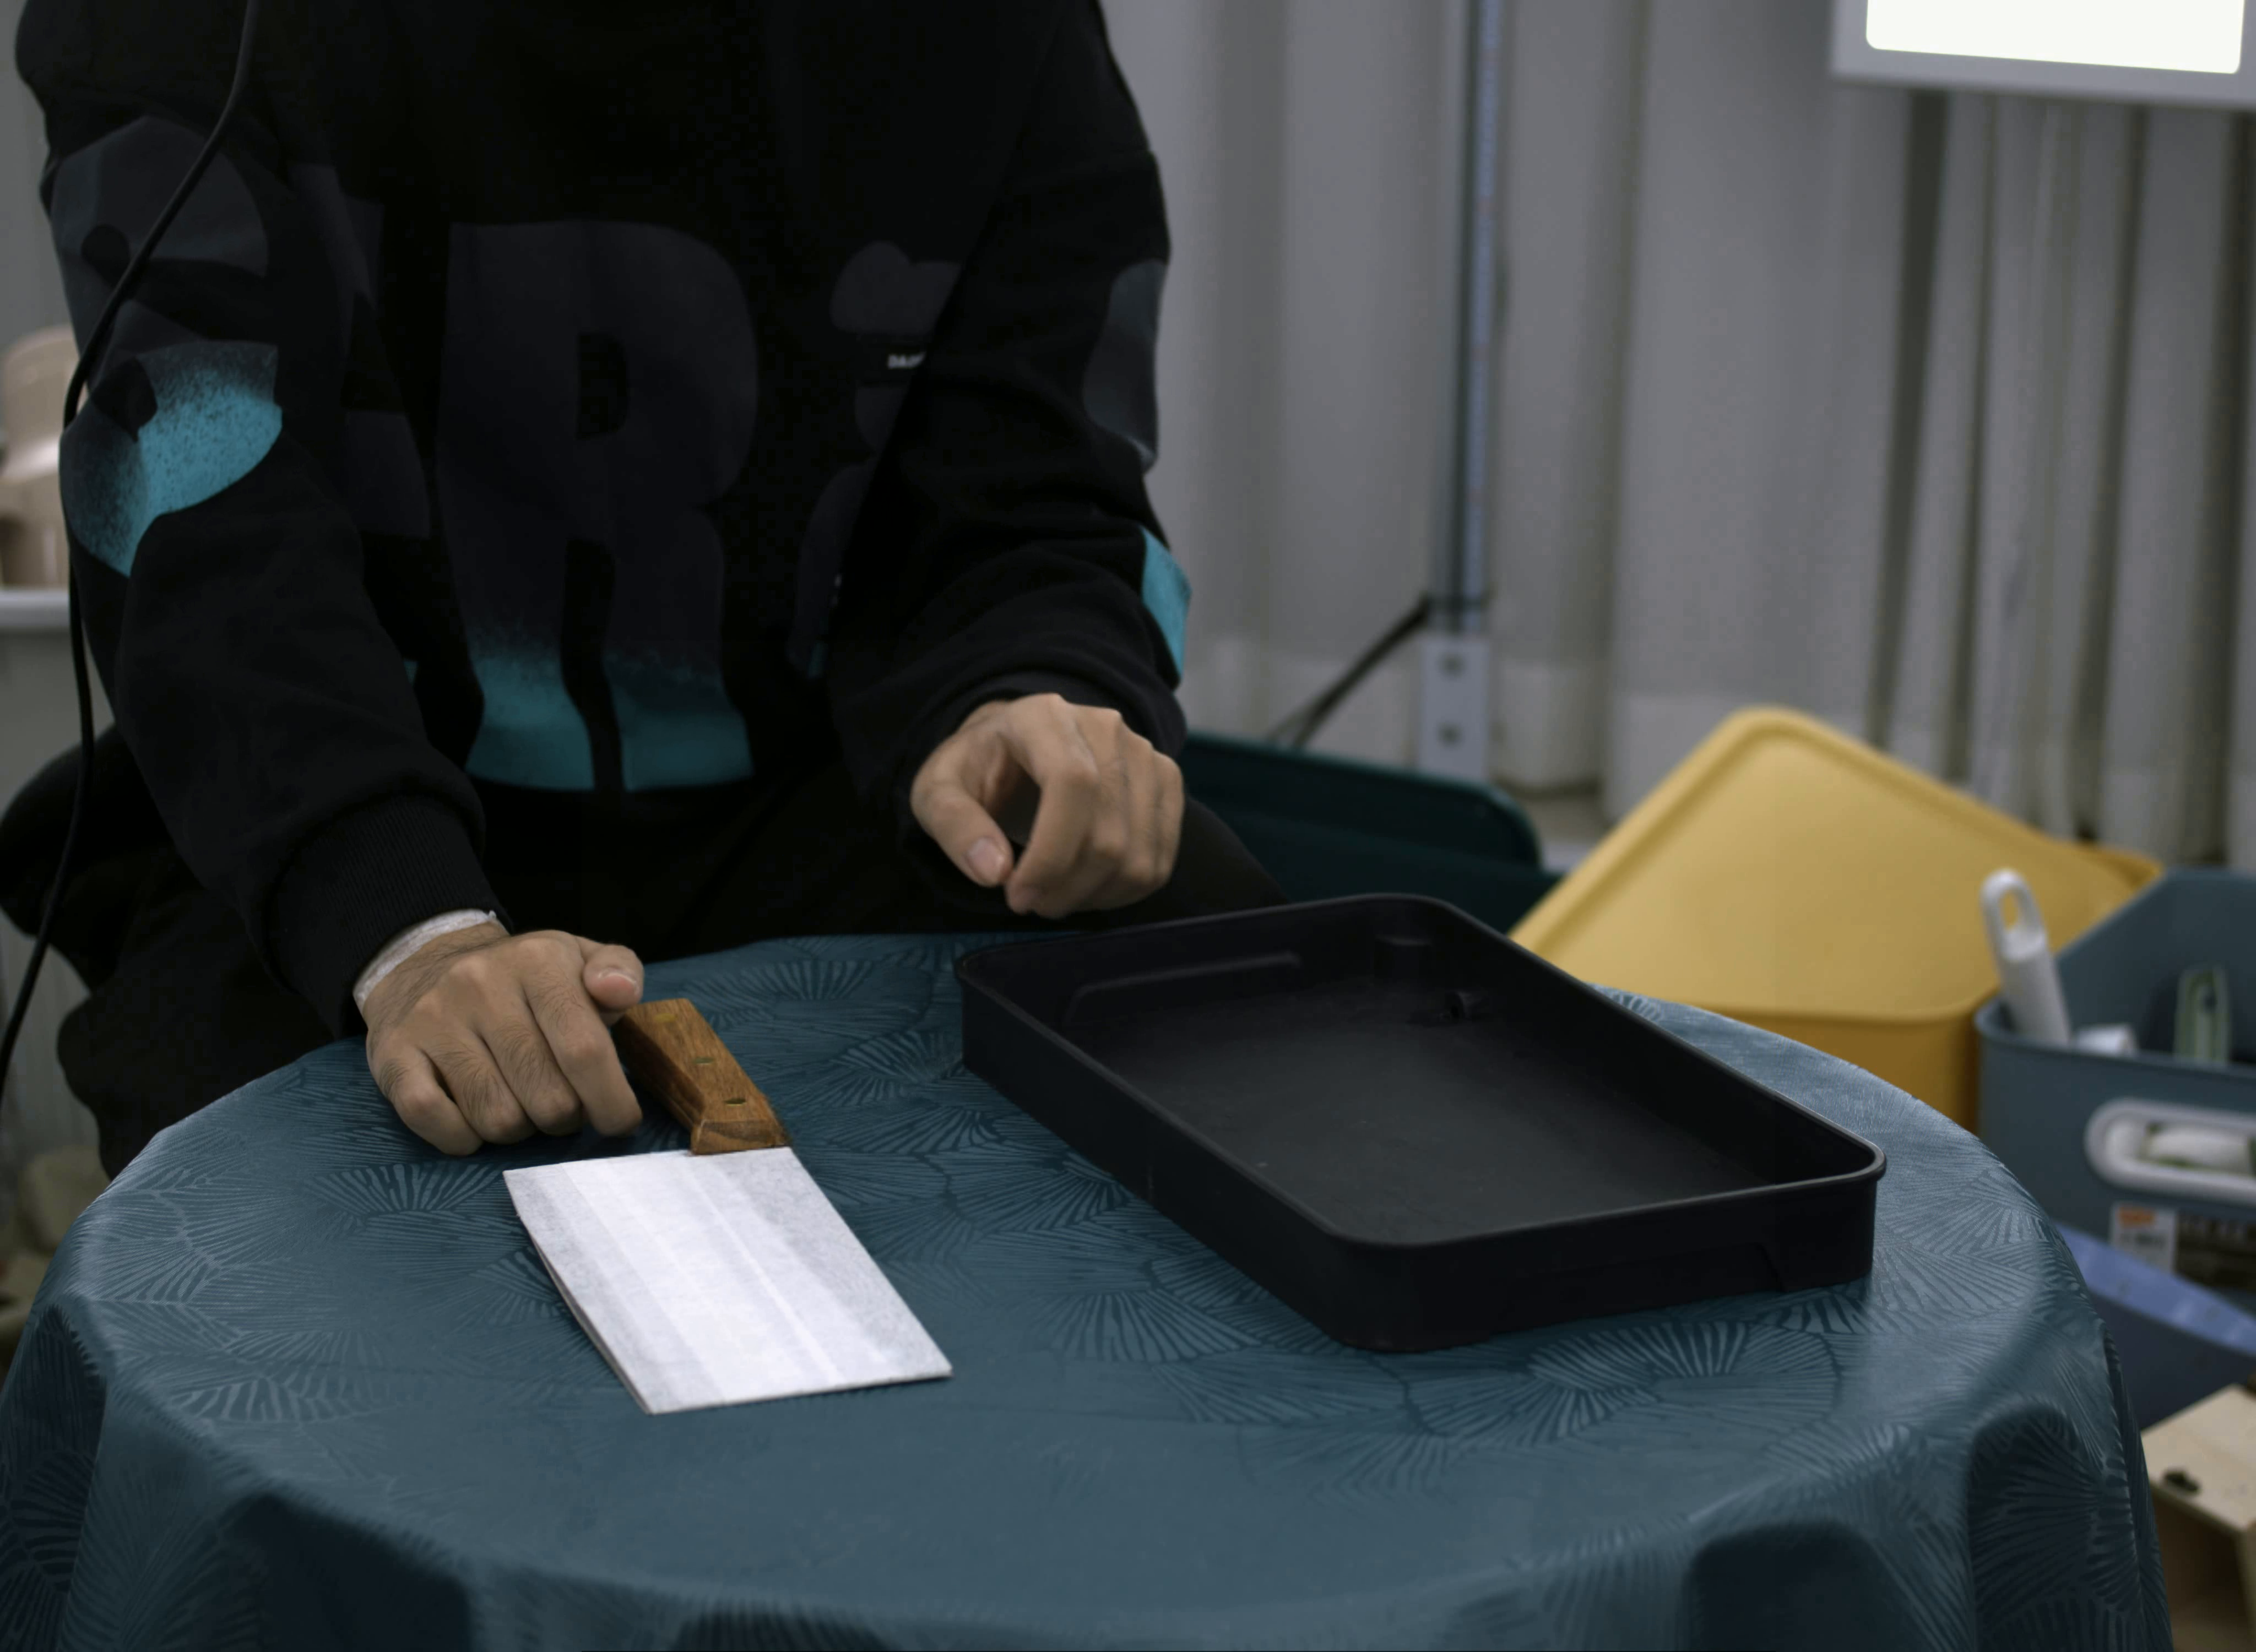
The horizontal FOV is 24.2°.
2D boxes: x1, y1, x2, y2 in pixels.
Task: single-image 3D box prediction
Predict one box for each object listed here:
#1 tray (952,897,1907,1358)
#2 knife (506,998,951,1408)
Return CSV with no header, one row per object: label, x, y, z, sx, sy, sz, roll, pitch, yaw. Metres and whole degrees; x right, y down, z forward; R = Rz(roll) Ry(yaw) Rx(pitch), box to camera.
tray,0.086,0.088,1.644,0.185,0.037,0.314,-8,17,-25
knife,-0.136,0.112,1.591,0.093,0.021,0.302,-6,19,-17
